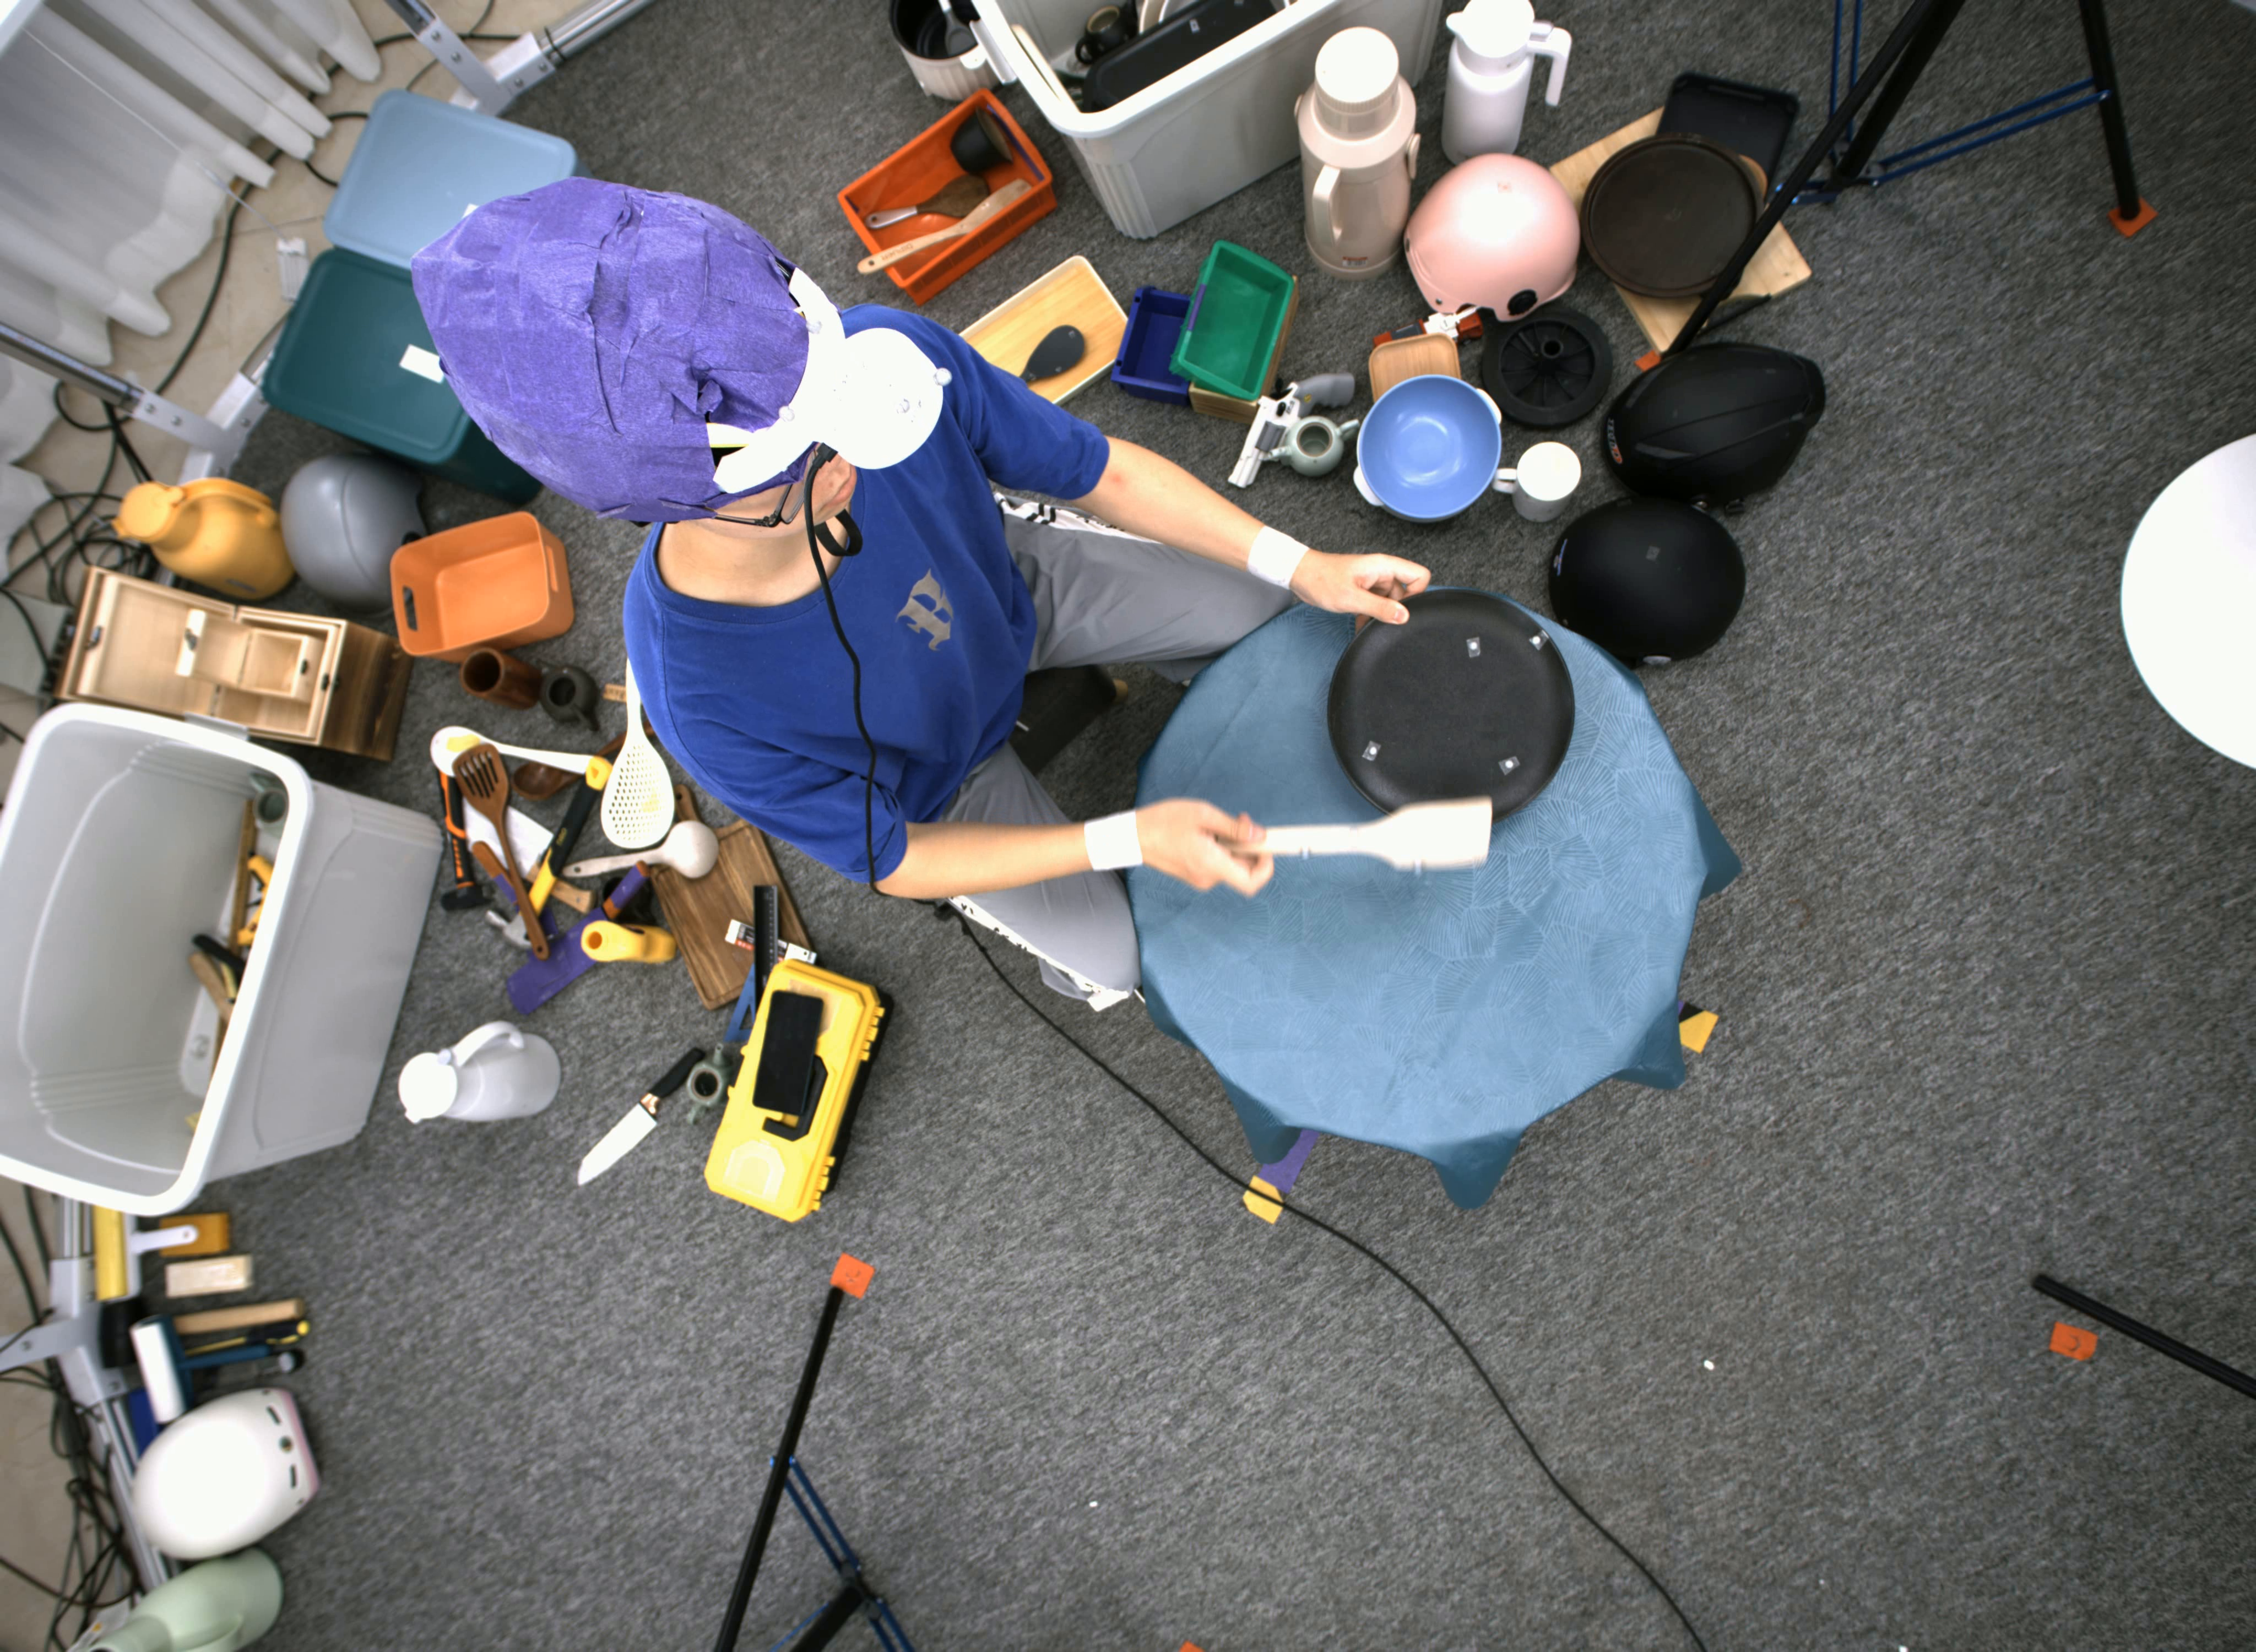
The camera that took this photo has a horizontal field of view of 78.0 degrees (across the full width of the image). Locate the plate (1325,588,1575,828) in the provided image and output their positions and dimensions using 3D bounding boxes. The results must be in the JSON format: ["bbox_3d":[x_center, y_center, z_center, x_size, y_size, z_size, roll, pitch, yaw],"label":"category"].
[{"bbox_3d":[0.321,-0.117,1.374,0.245,0.023,0.246,2,100,15],"label":"plate"}]

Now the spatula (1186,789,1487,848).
[{"bbox_3d":[0.191,0.001,1.307,0.295,0.070,0.011,-5,130,24],"label":"spatula"}]
